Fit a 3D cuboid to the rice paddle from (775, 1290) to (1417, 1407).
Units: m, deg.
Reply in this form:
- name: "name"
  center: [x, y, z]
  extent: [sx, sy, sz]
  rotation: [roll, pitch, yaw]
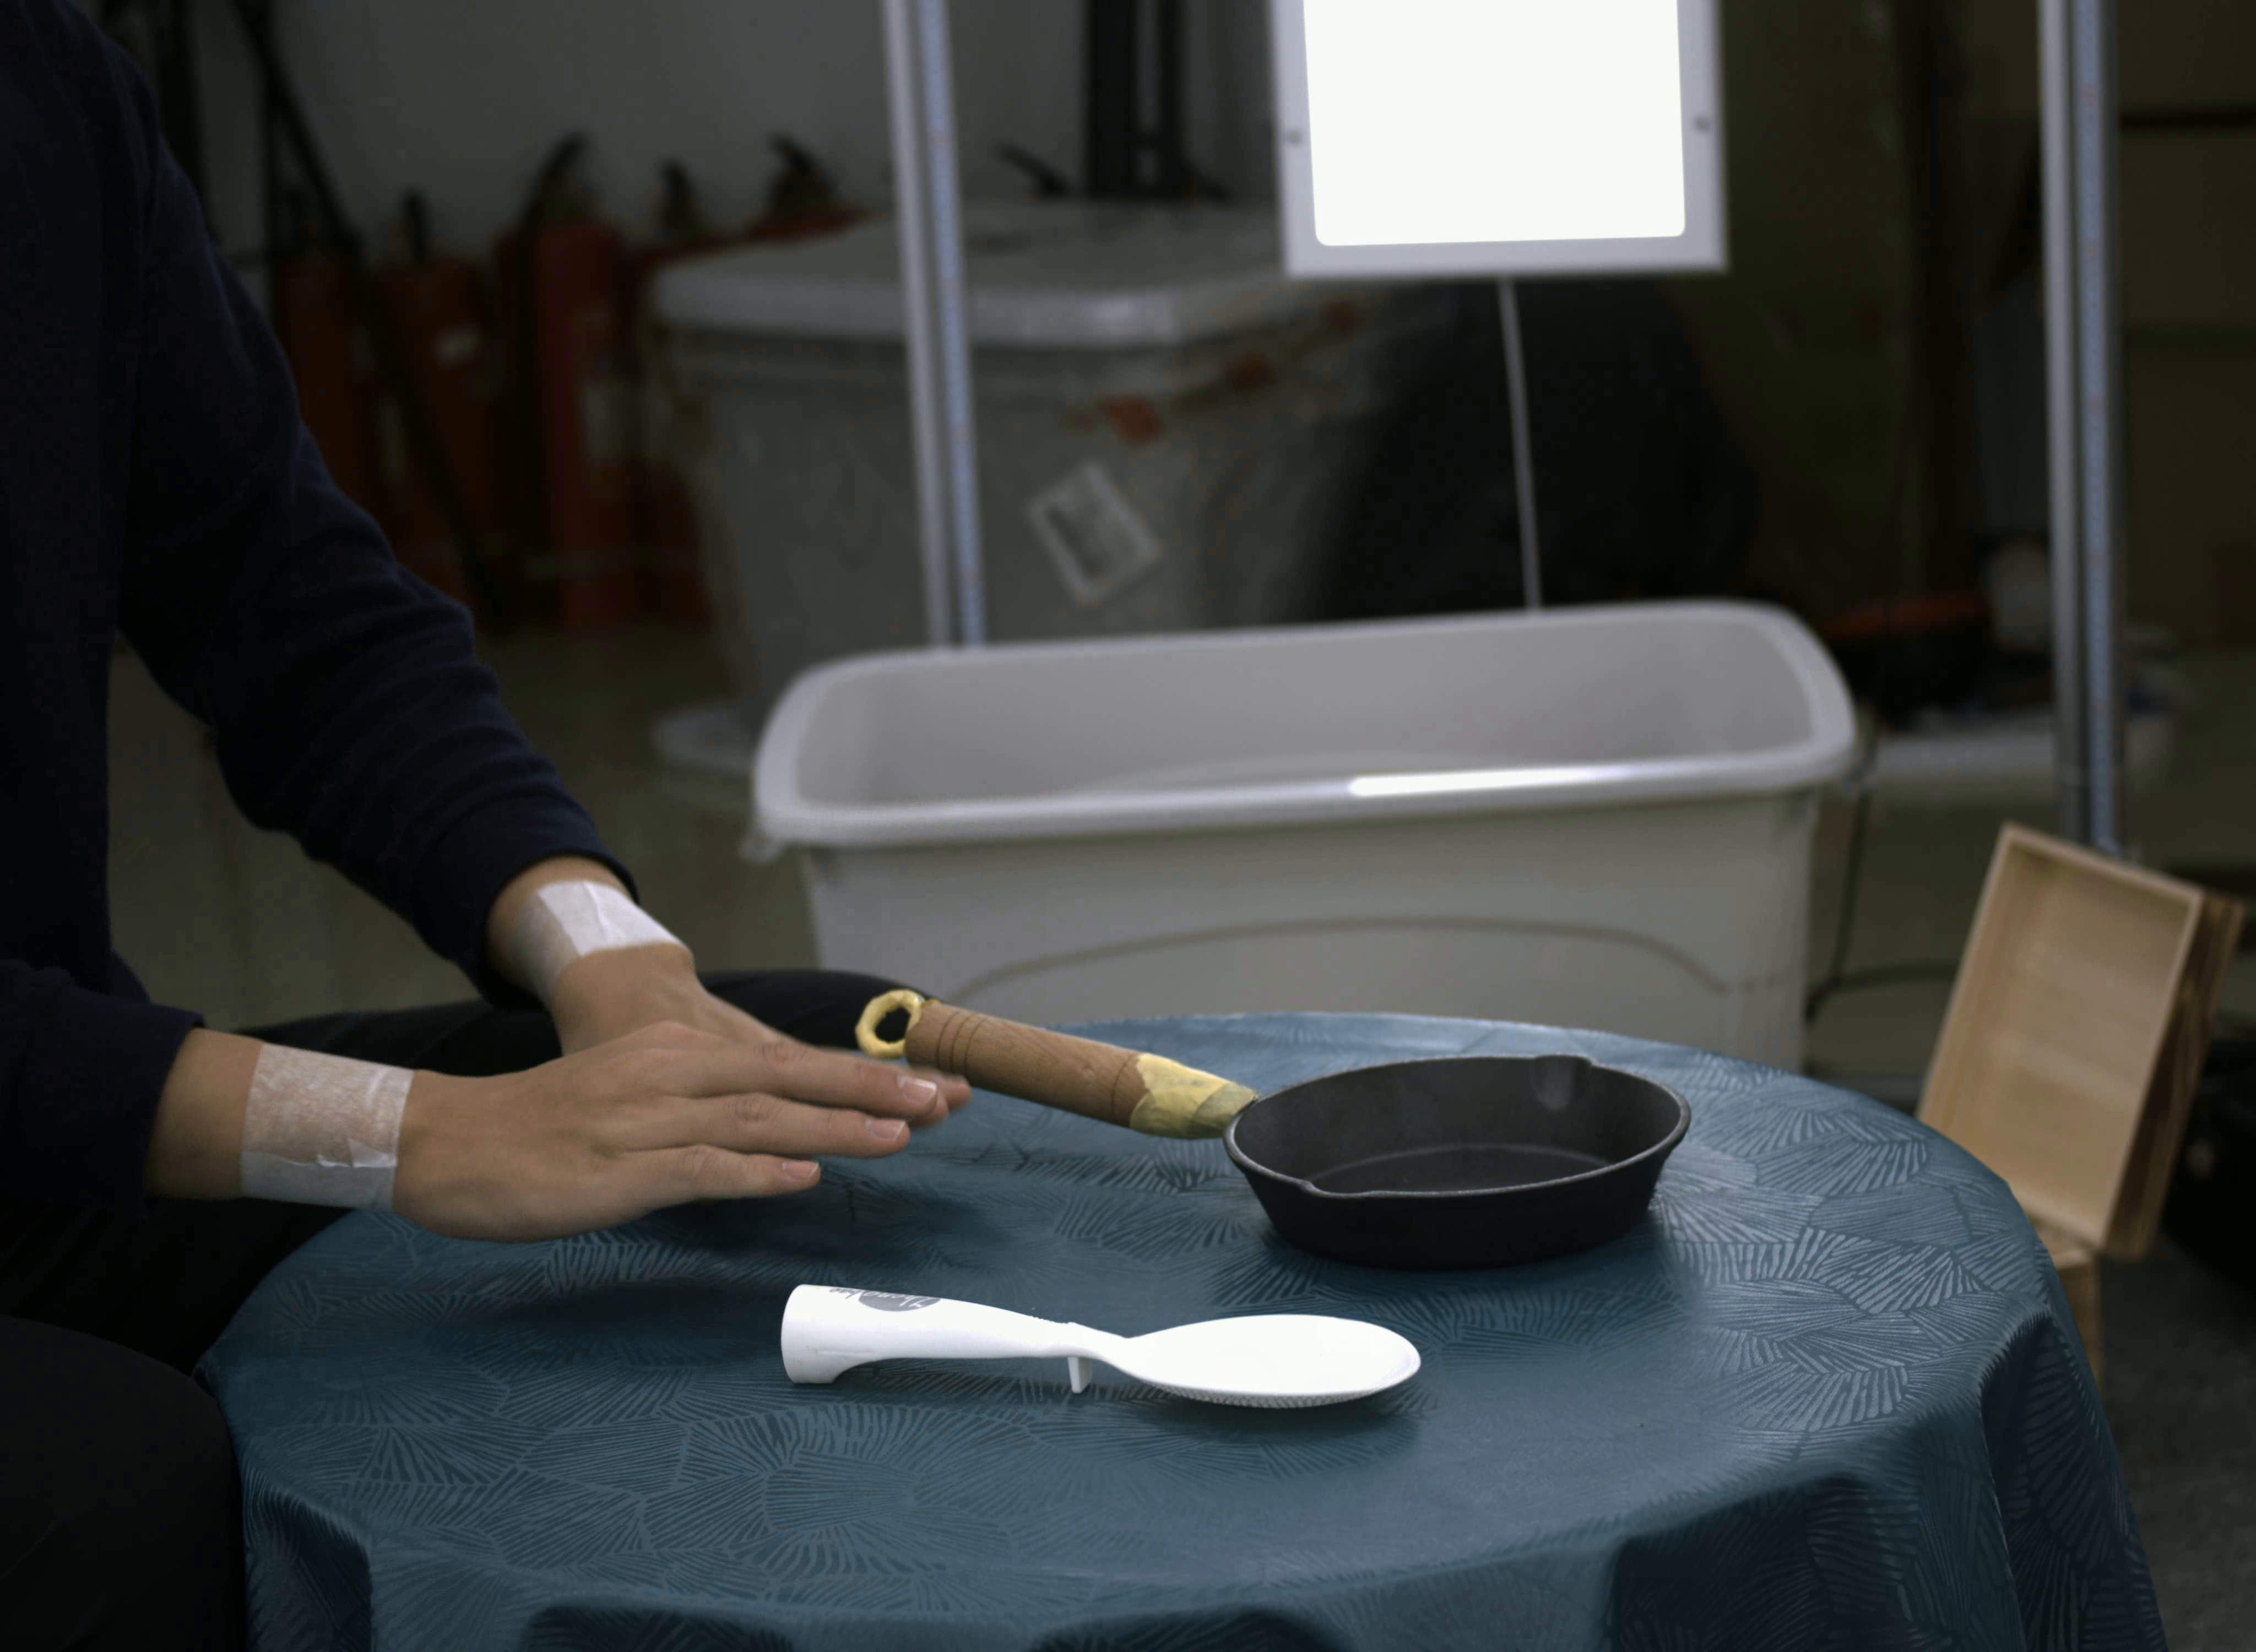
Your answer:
- name: "rice paddle"
  center: [-0.009, 0.160, 1.702]
  extent: [0.208, 0.029, 0.067]
  rotation: [0, 18, 21]

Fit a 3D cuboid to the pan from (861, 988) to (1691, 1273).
- name: "pan"
  center: [0.042, 0.098, 1.890]
  extent: [0.331, 0.050, 0.165]
  rotation: [7, 18, 36]
